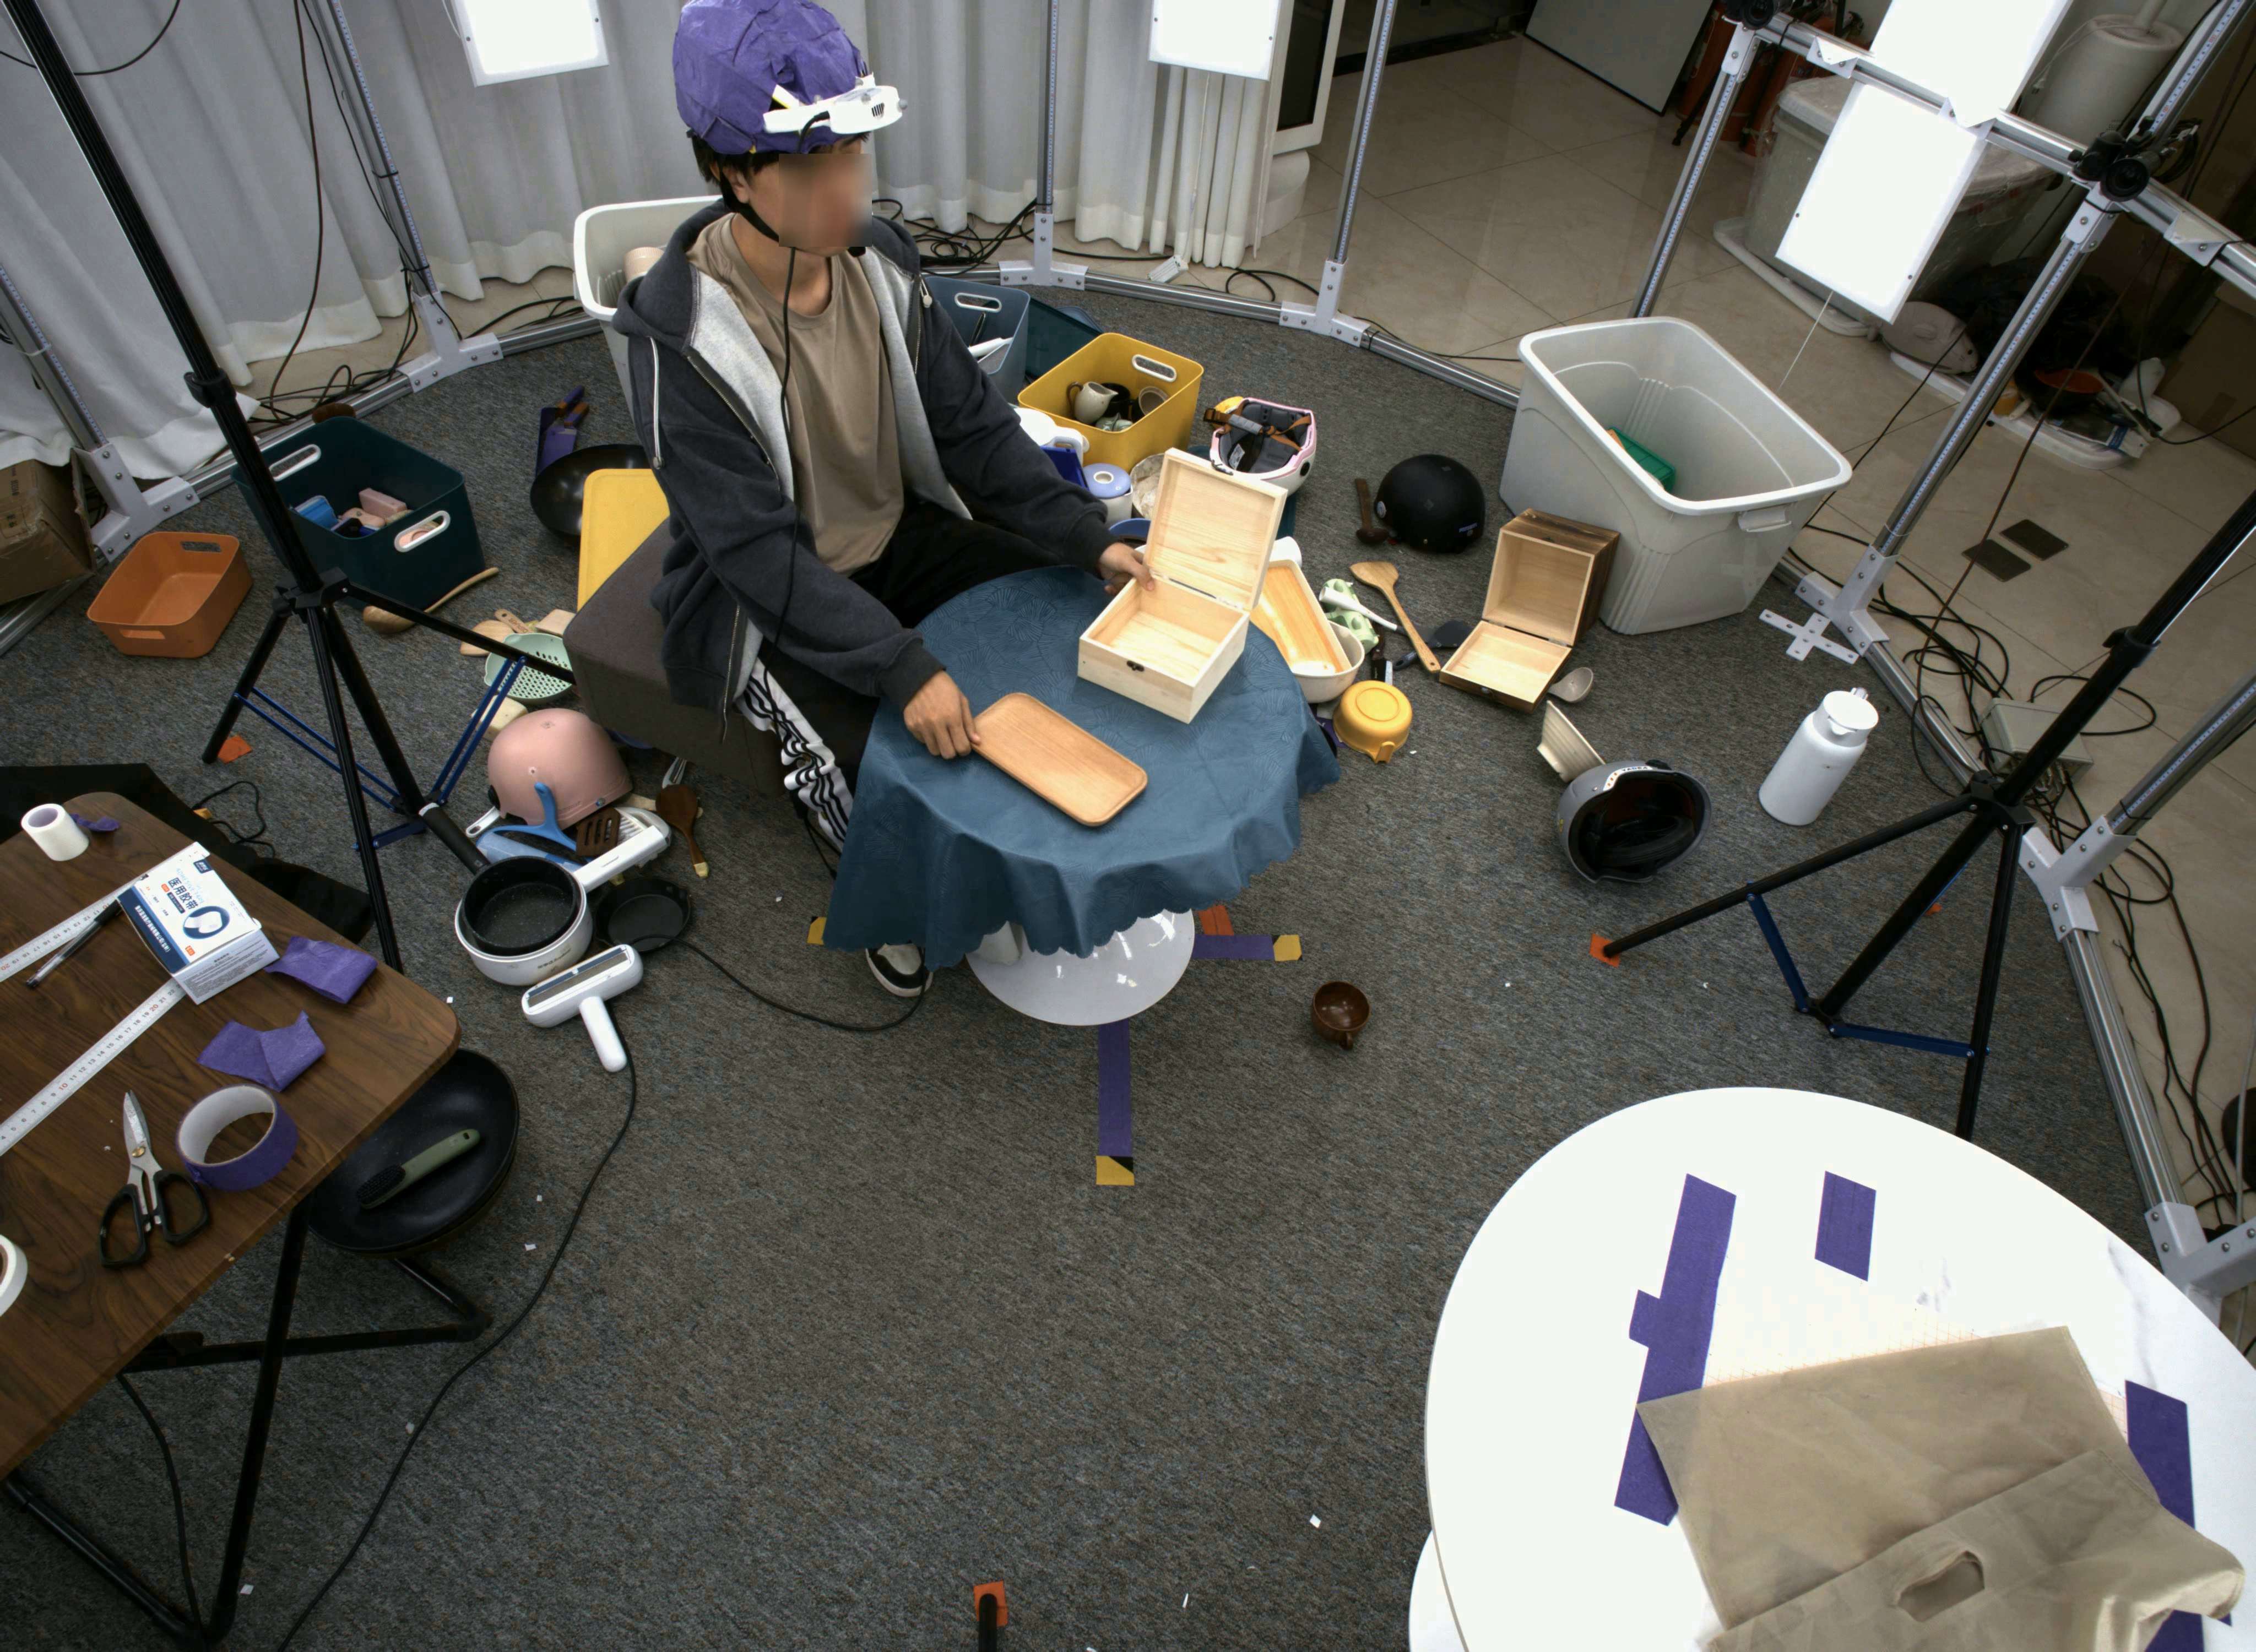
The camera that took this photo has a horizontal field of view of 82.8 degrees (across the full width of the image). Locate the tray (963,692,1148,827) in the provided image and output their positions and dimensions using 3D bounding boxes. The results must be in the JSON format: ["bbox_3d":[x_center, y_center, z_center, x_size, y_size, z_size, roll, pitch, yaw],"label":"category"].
[{"bbox_3d":[-0.099,-0.091,1.725,0.254,0.022,0.132,34,52,24],"label":"tray"}]

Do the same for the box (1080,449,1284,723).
[{"bbox_3d":[0.072,-0.340,1.810,0.183,0.247,0.269,22,50,18],"label":"box"}]
